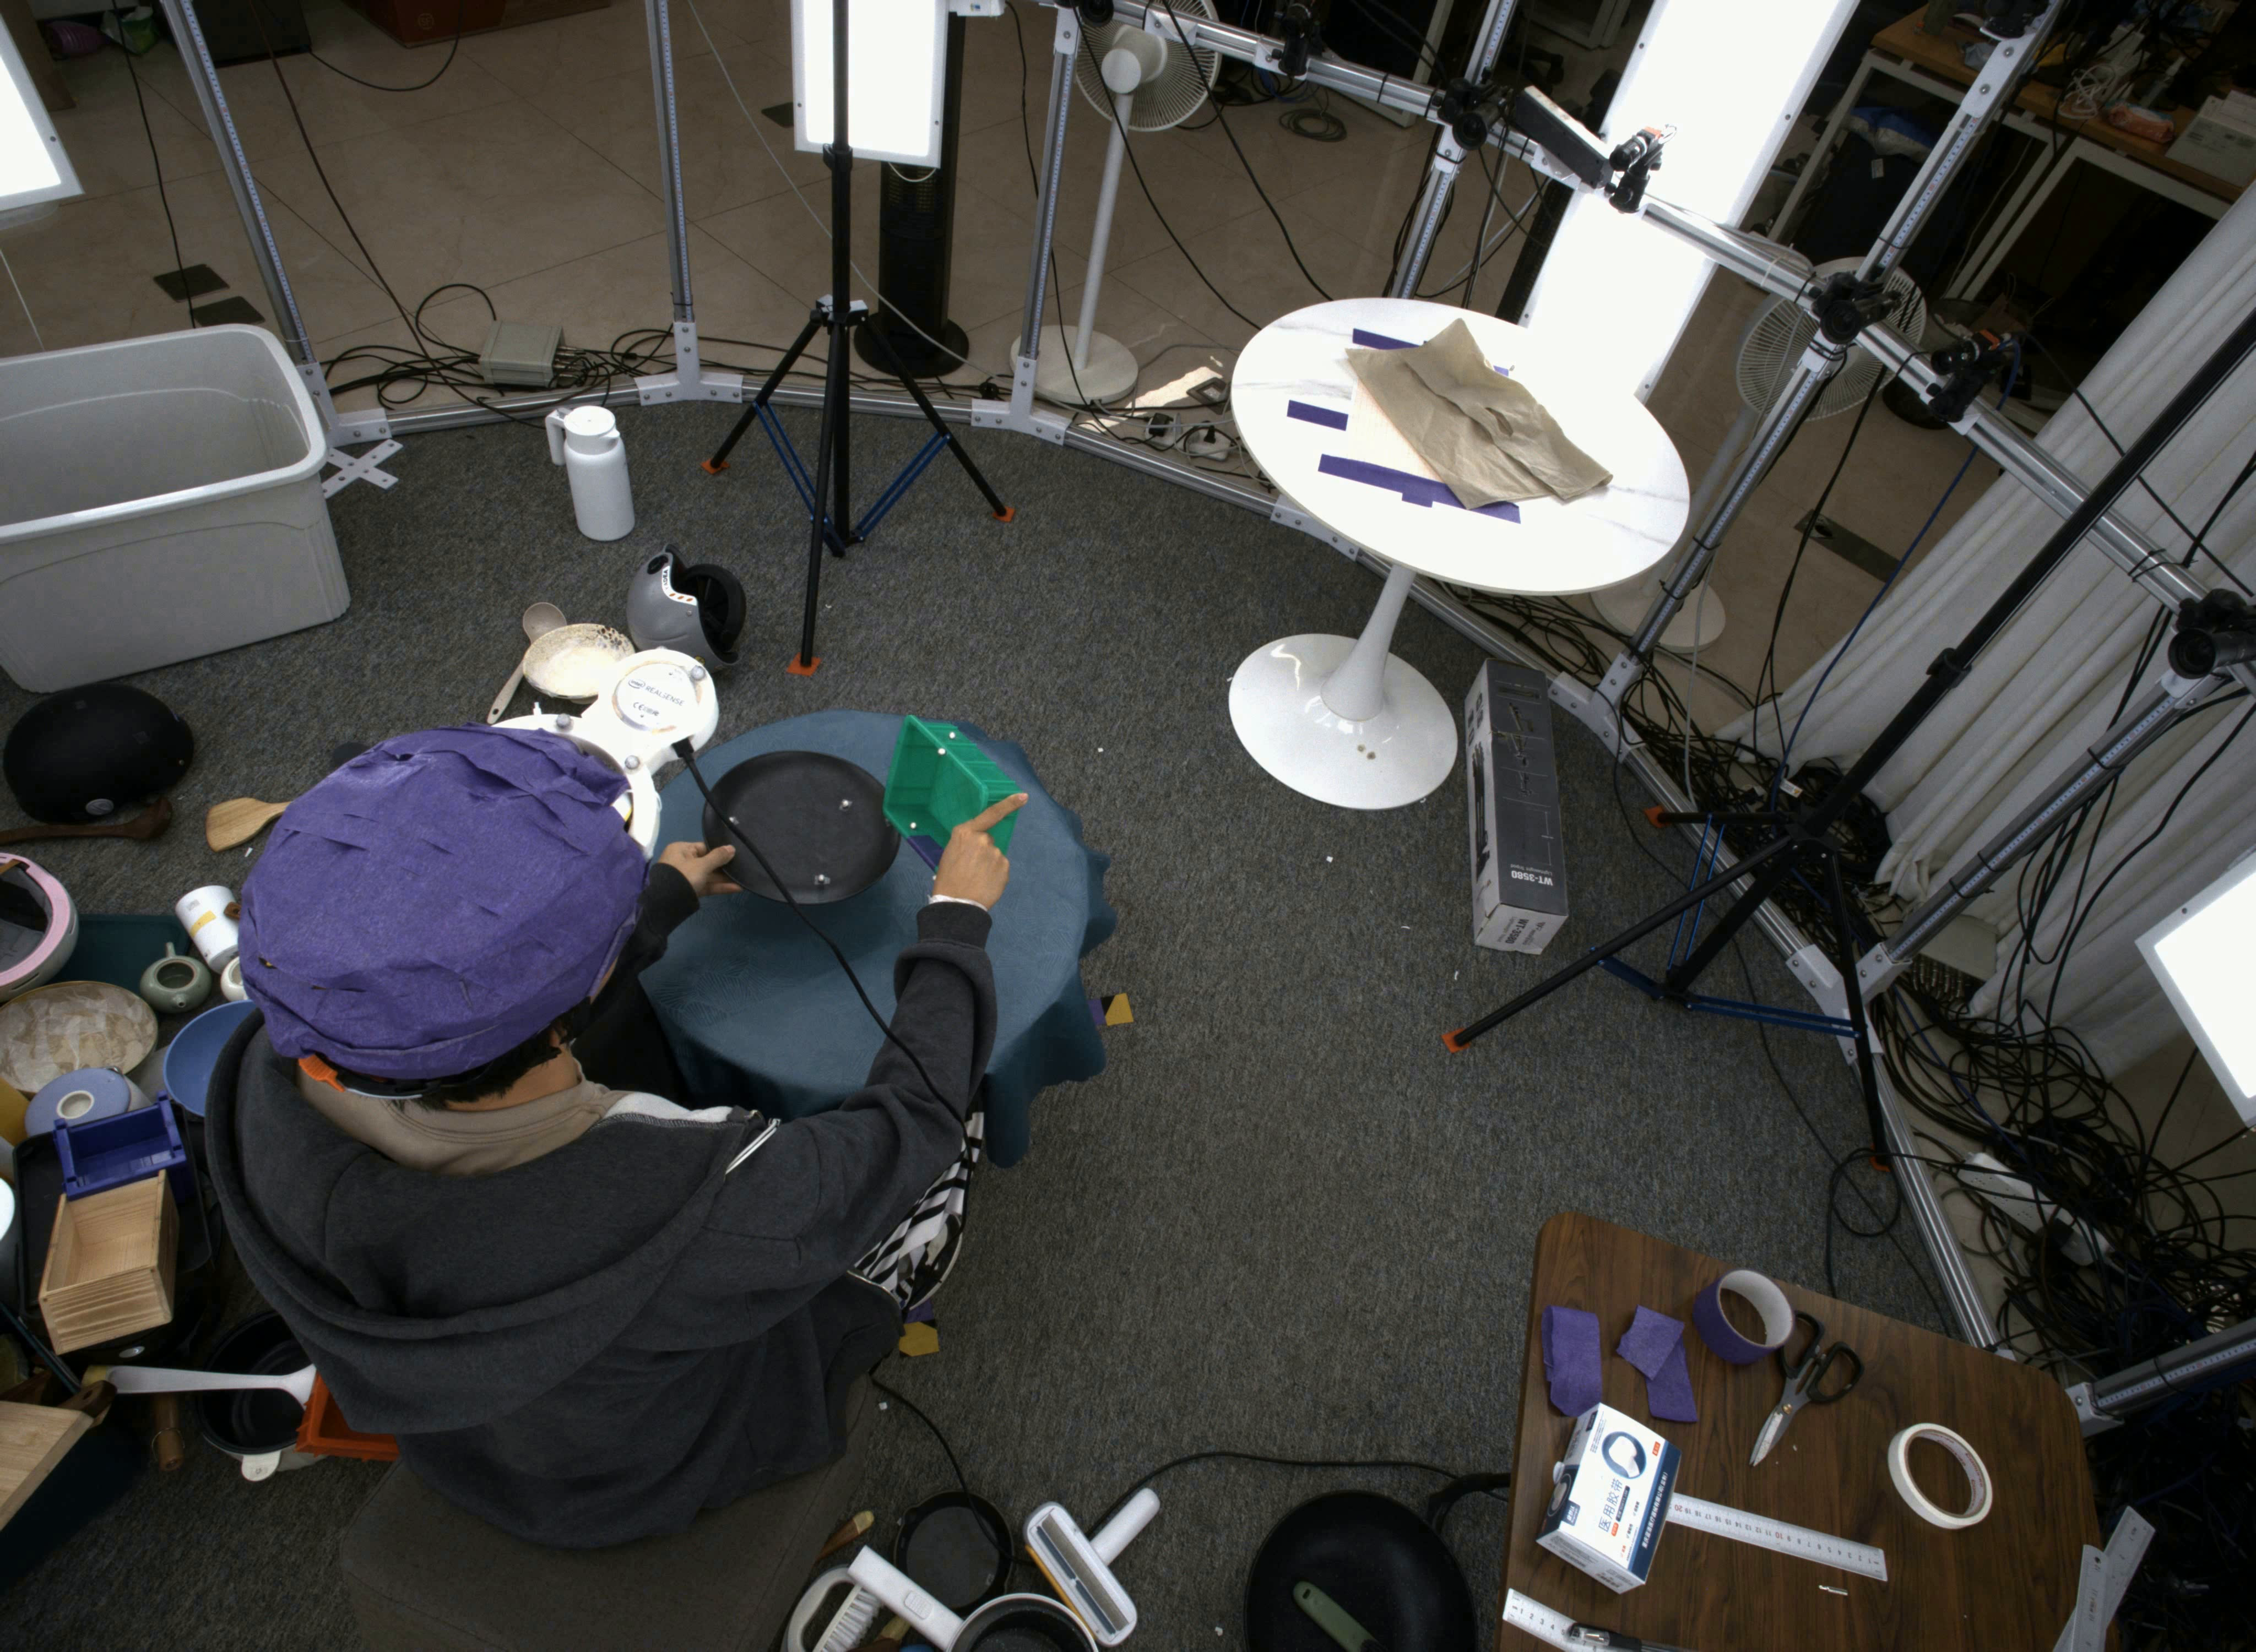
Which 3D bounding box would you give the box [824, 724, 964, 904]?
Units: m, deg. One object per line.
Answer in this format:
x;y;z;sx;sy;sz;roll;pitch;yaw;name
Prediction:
-0.269;-0.019;1.491;0.066;0.142;0.202;-10;33;-42;box

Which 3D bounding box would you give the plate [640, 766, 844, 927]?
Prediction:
-0.469;0.025;1.575;0.245;0.024;0.240;12;50;-13;plate
